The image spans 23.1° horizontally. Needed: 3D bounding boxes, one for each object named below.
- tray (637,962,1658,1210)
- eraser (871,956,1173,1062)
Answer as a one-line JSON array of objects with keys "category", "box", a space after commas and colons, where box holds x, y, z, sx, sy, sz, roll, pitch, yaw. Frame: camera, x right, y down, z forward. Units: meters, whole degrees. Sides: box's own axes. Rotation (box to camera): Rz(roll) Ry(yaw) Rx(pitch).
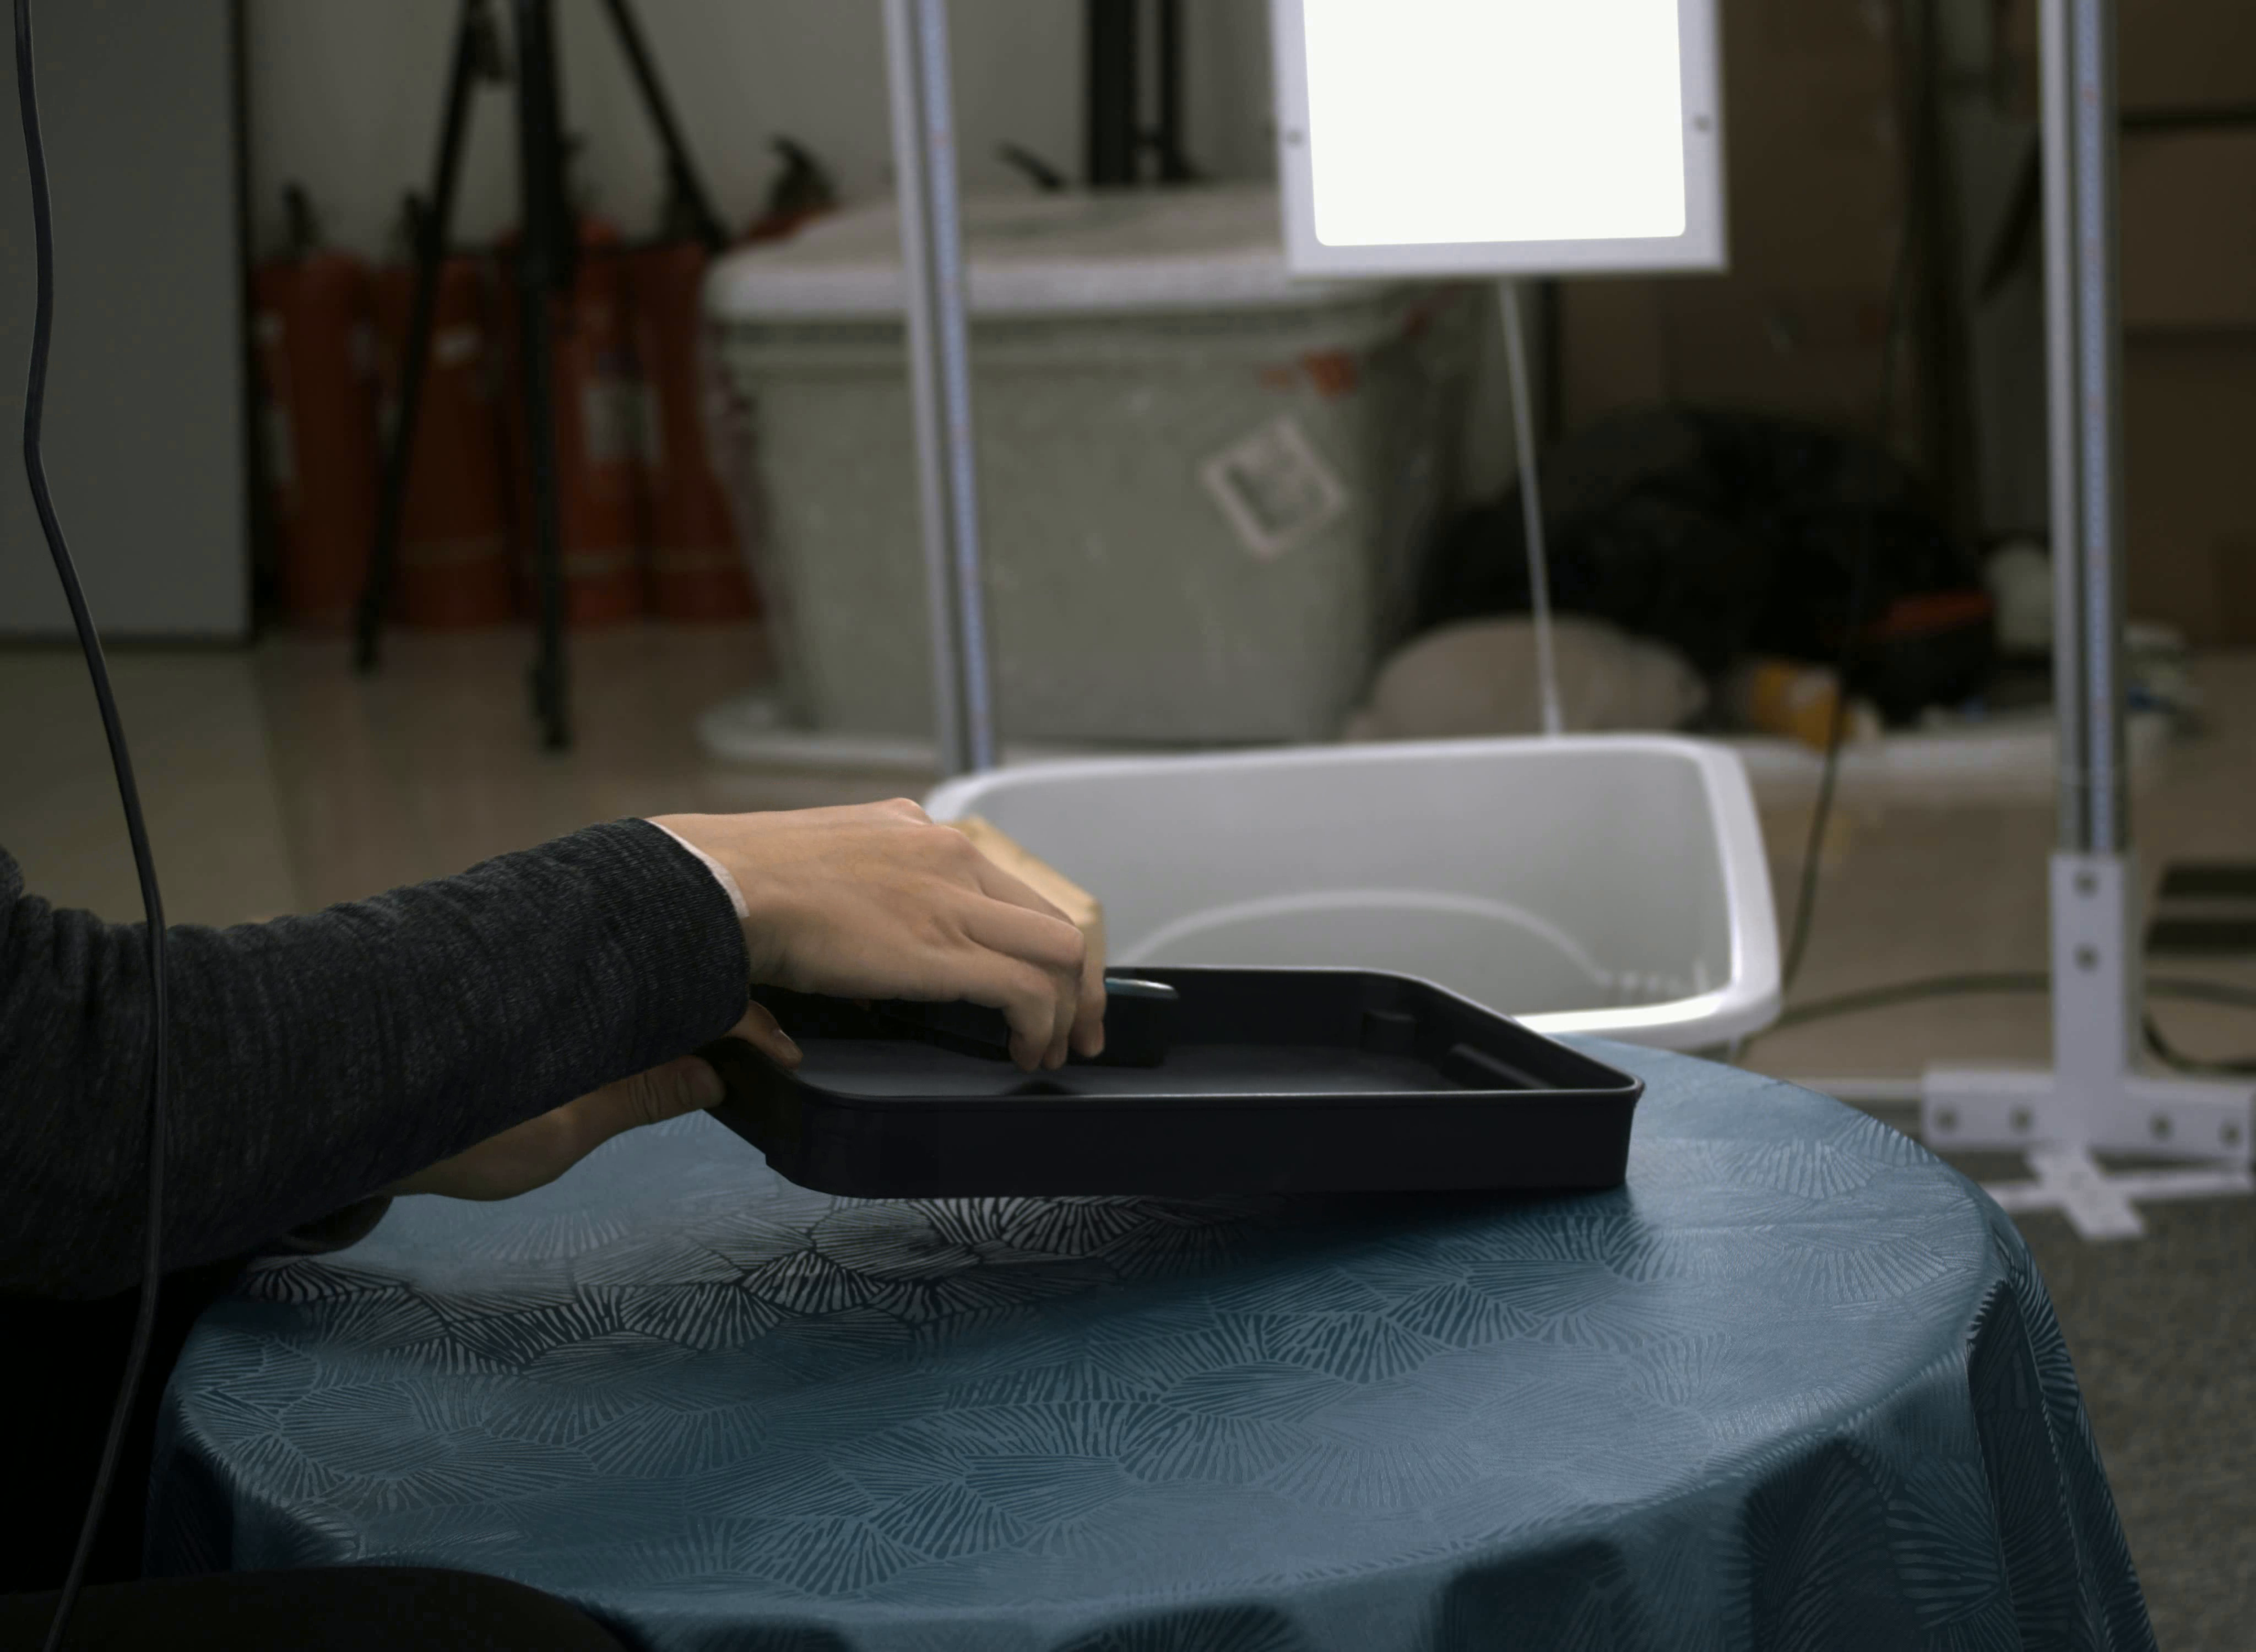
[{"category": "tray", "box": [0.006, 0.085, 1.867, 0.311, 0.037, 0.187, 0, 12, -27]}, {"category": "eraser", "box": [-0.035, 0.061, 1.847, 0.054, 0.030, 0.123, 10, 2, 27]}]
